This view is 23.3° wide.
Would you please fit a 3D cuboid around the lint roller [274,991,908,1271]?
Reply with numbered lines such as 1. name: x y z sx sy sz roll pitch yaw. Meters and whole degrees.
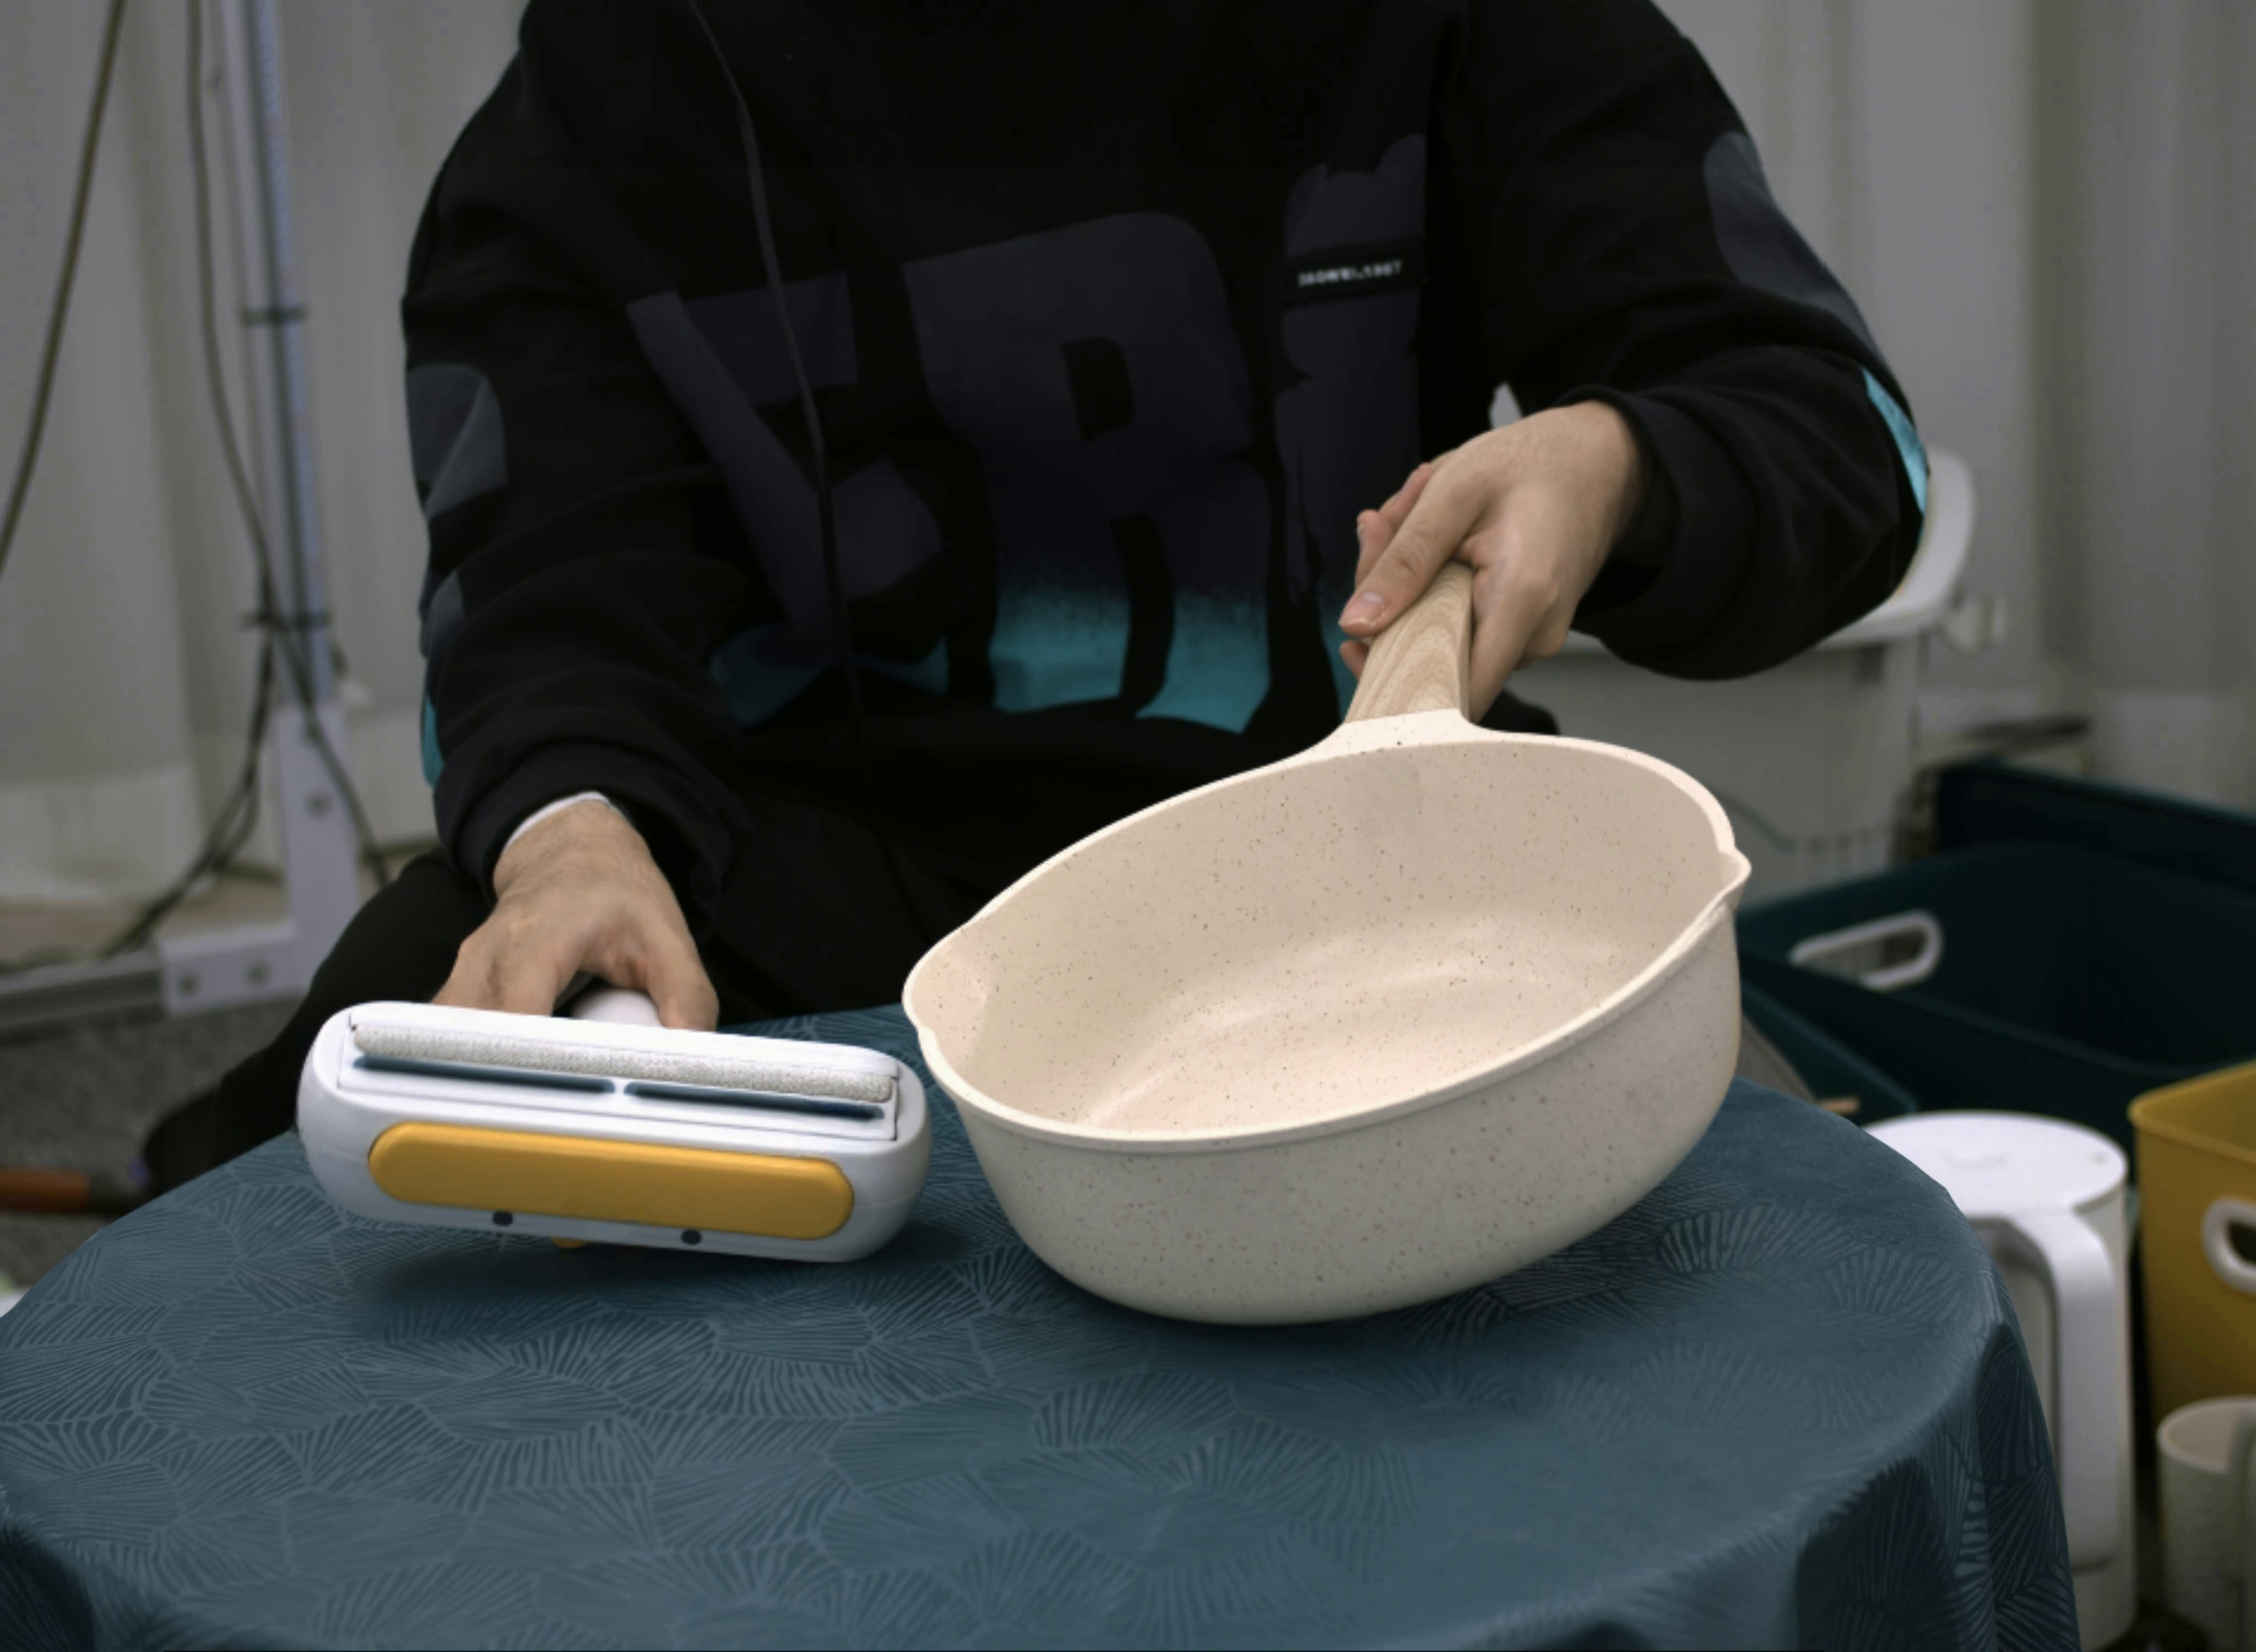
1. lint roller: -0.163 0.080 1.724 0.192 0.074 0.194 3 20 0

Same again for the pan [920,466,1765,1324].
1. pan: 0.088 0.016 1.724 0.263 0.101 0.439 -10 24 17
